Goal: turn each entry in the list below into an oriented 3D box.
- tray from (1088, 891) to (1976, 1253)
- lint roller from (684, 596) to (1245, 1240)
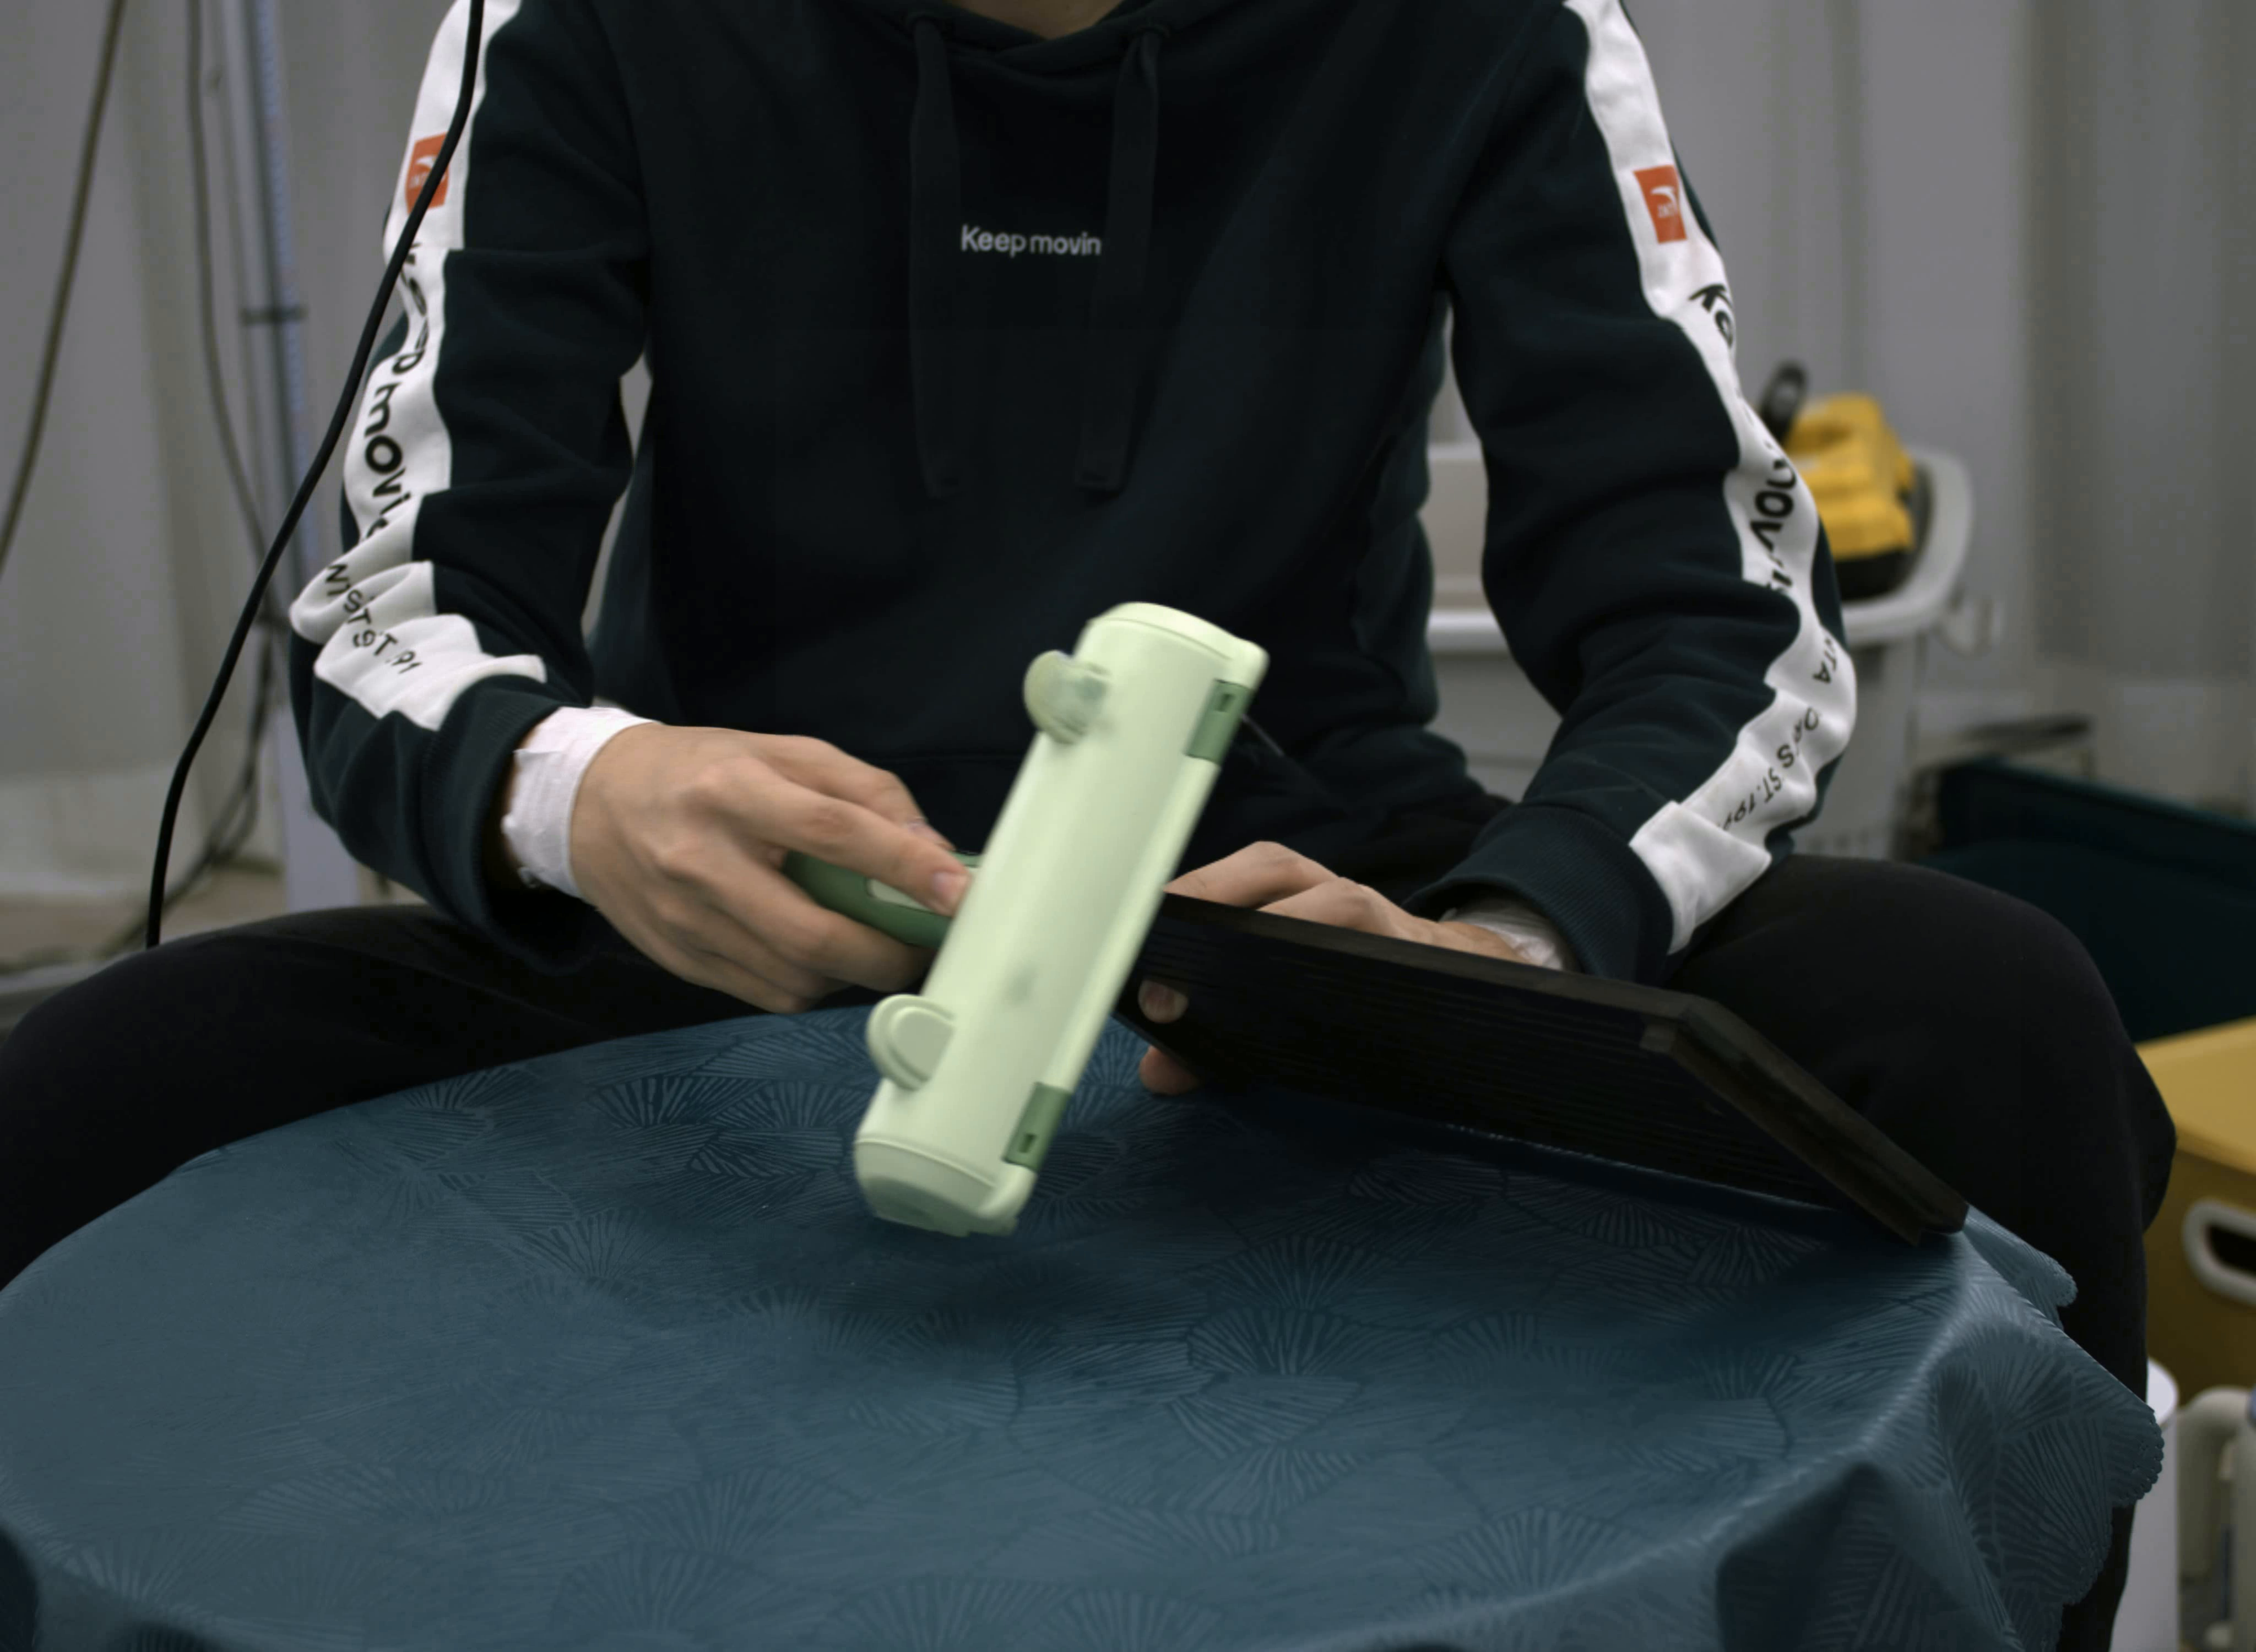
[{"bbox_3d":[0.094,0.070,1.664,0.307,0.019,0.168,10,-18,41],"label":"tray"},{"bbox_3d":[-0.074,0.013,1.646,0.184,0.200,0.081,12,-21,32],"label":"lint roller"}]
